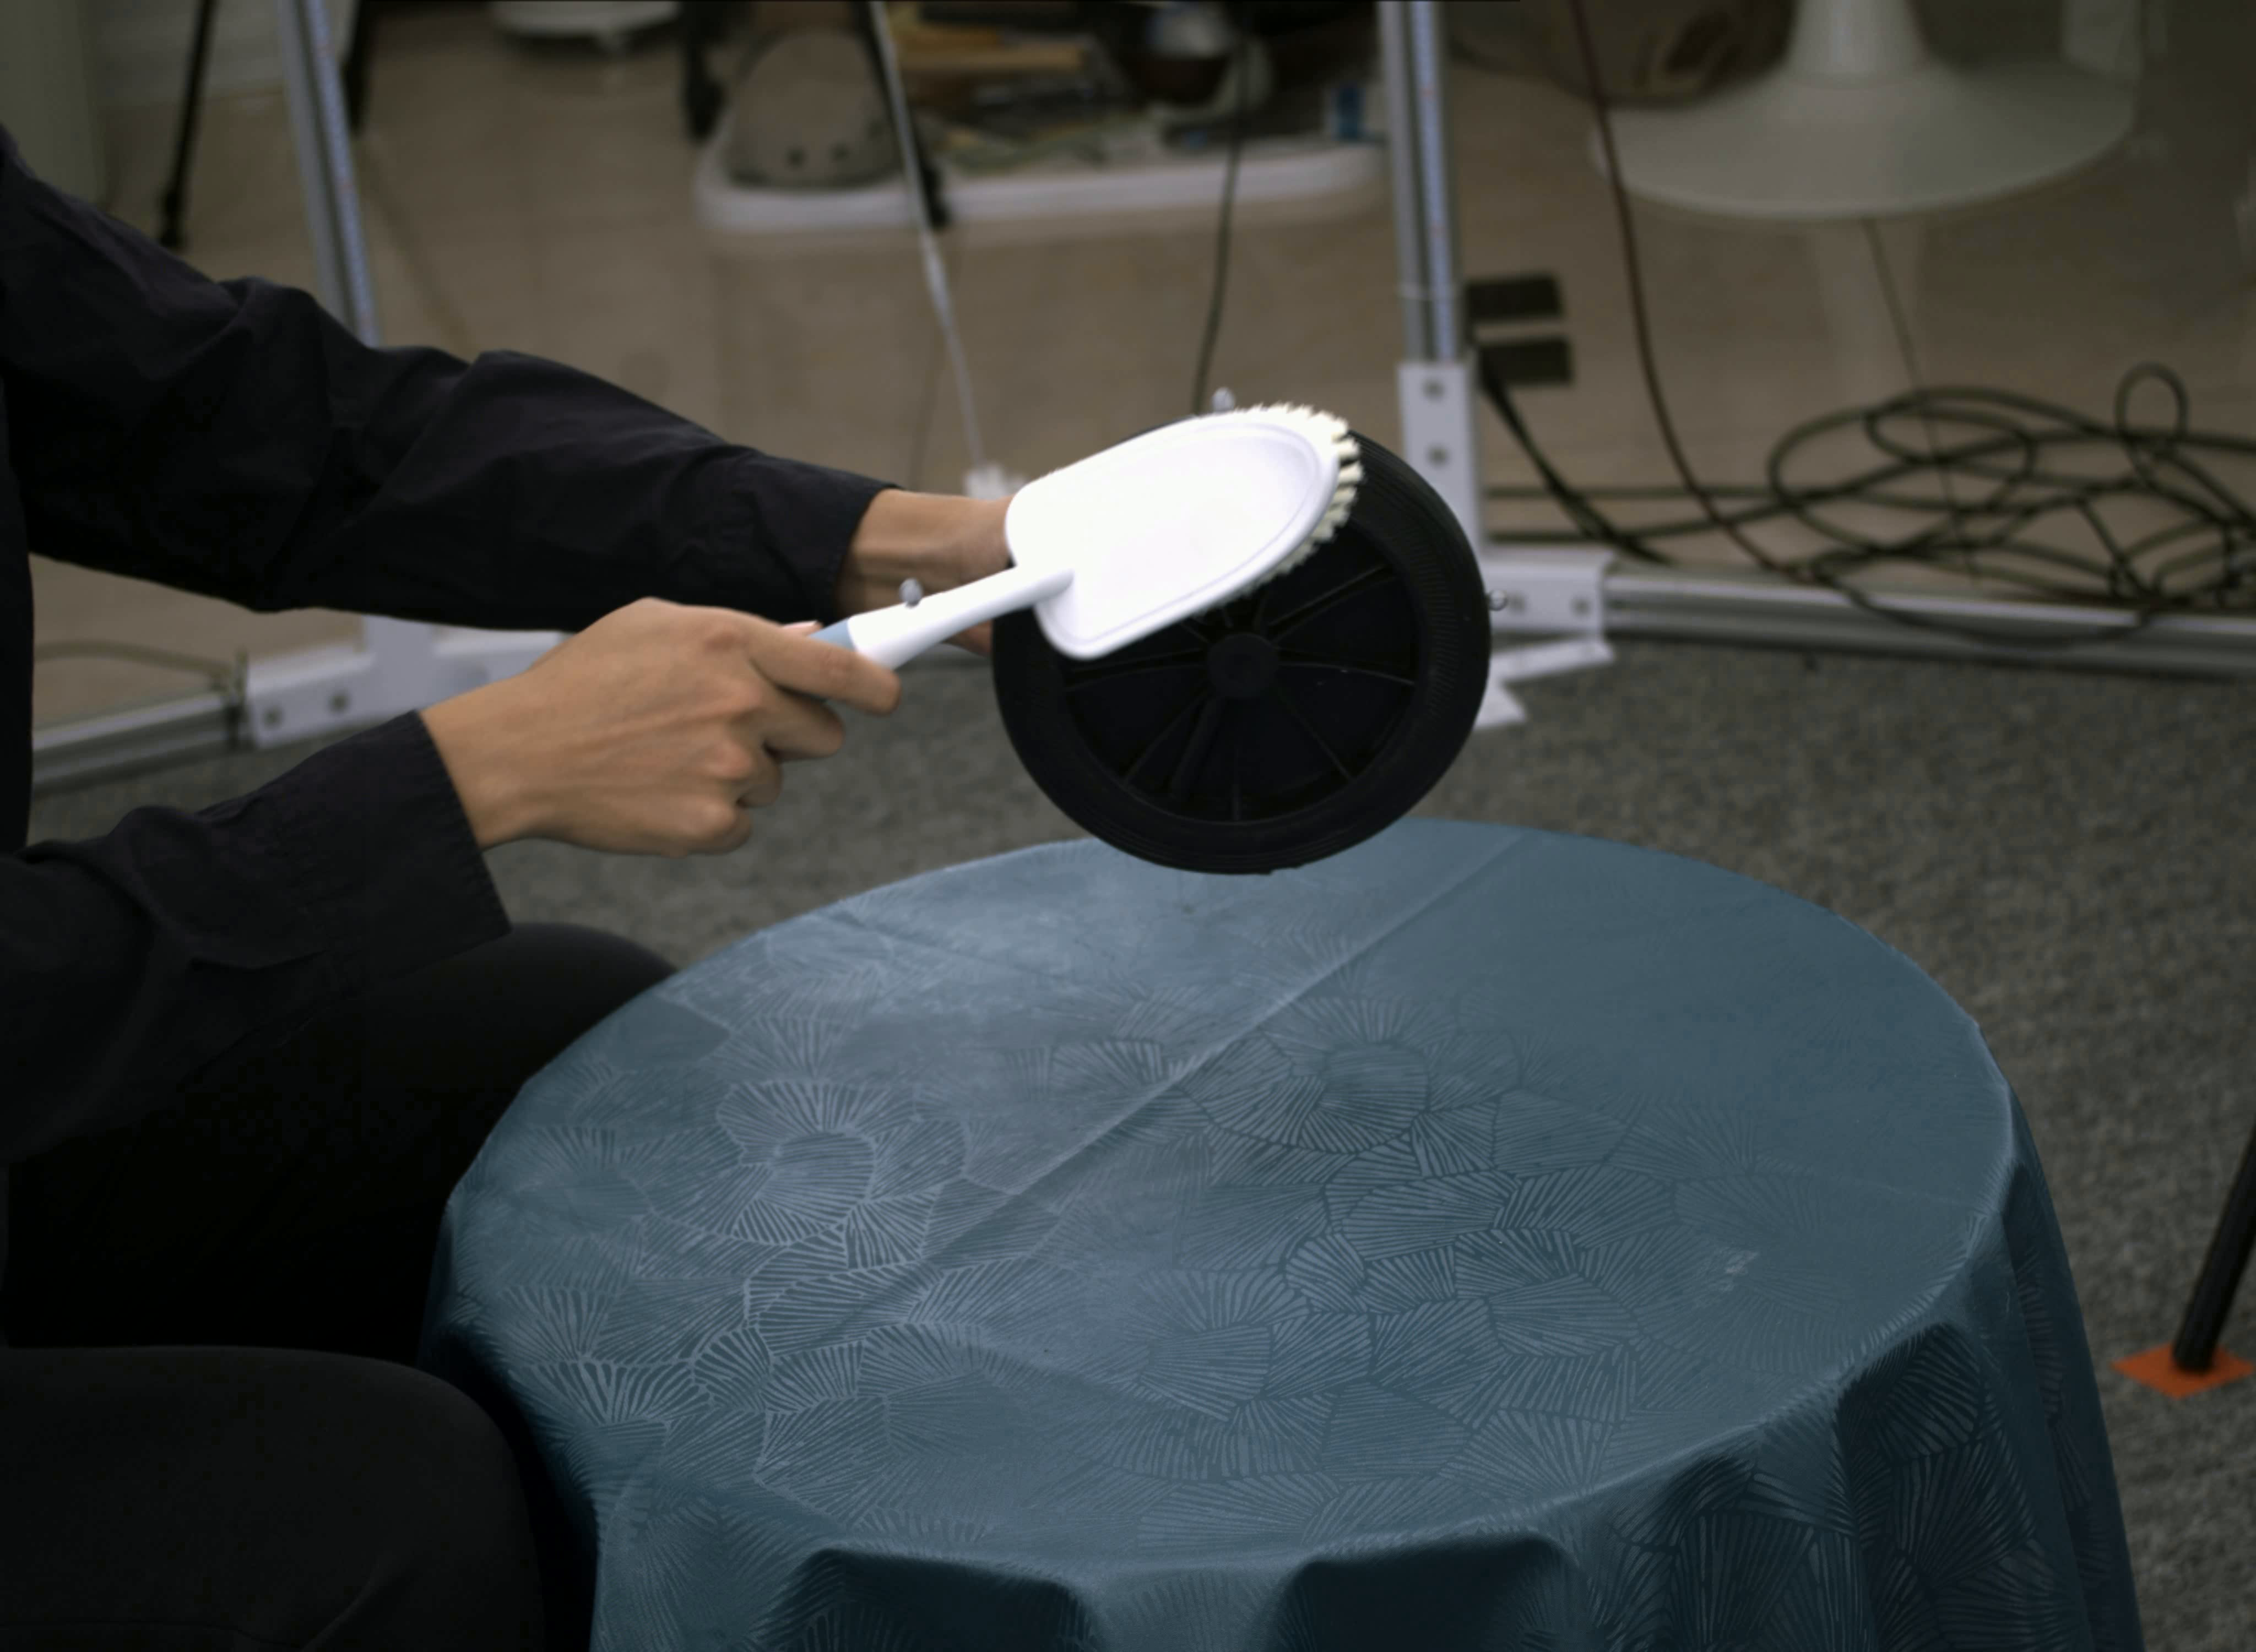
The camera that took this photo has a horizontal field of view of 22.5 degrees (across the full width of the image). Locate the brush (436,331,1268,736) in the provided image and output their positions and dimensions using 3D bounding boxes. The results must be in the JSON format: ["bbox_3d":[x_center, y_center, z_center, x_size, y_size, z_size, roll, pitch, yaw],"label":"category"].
[{"bbox_3d":[-0.102,-0.108,2.078,0.325,0.086,0.082,-22,55,7],"label":"brush"}]

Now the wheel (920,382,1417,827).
[{"bbox_3d":[0.014,-0.096,2.169,0.190,0.190,0.078,17,28,-15],"label":"wheel"}]
